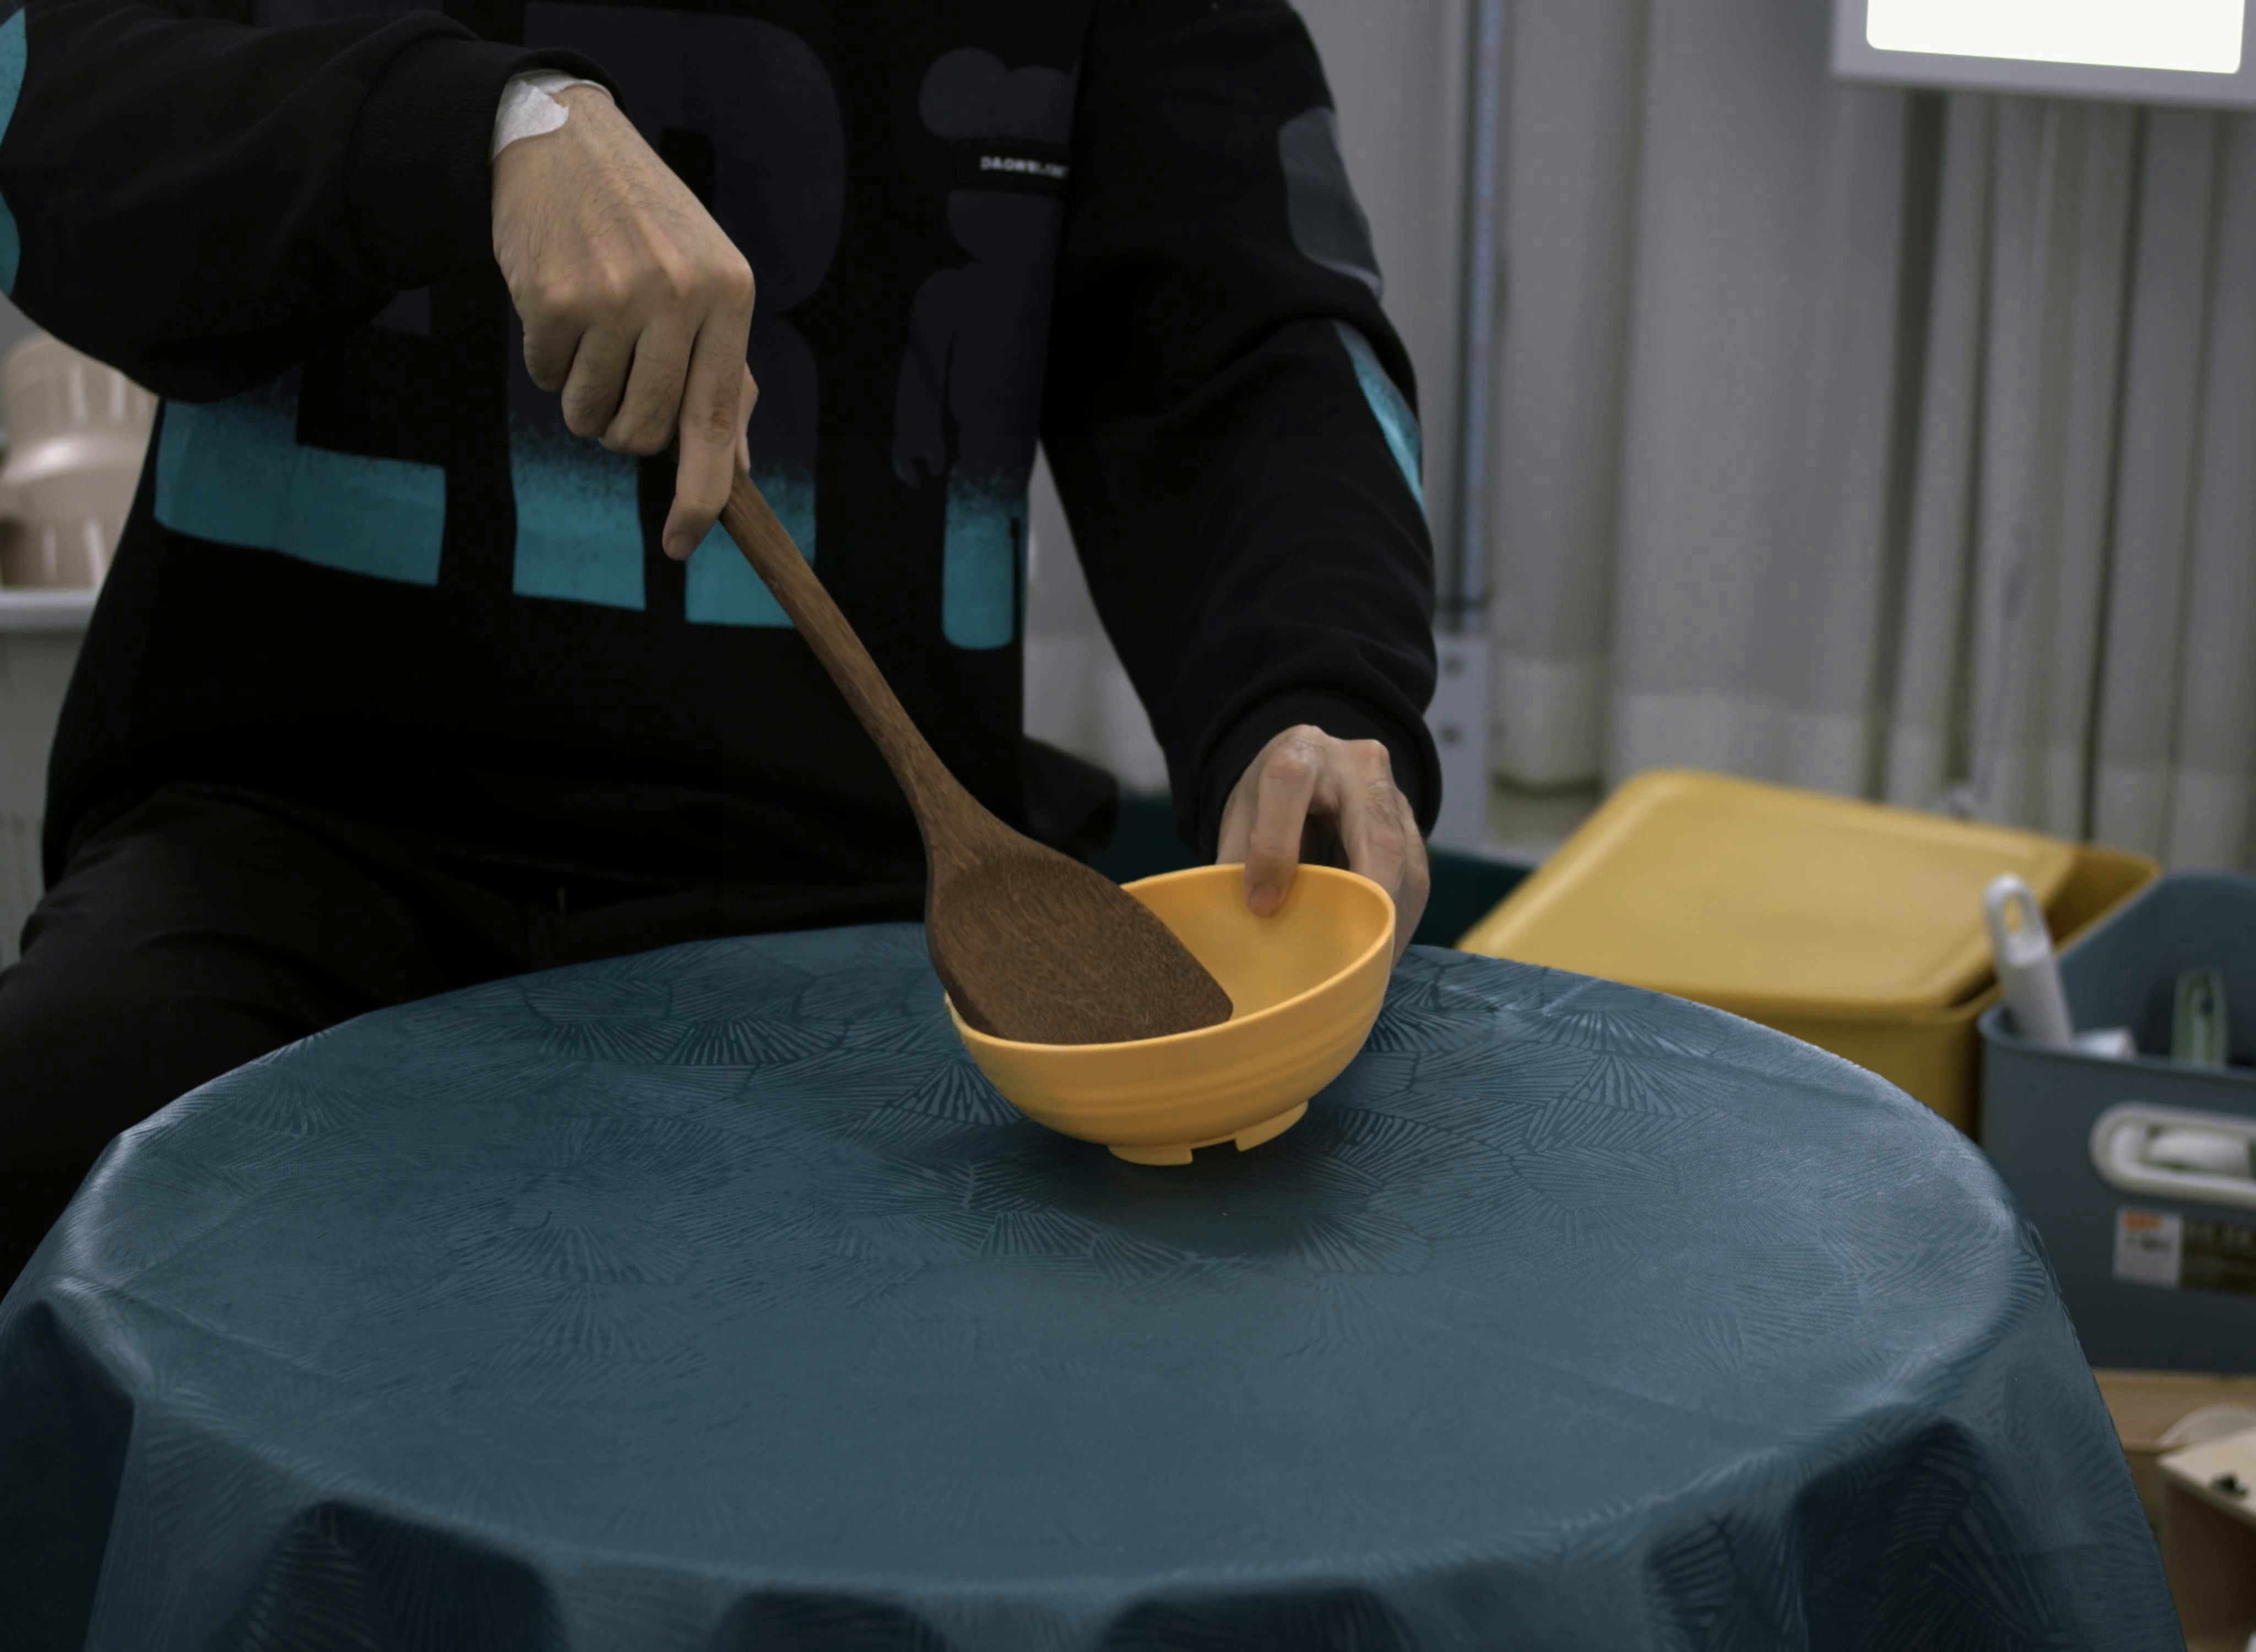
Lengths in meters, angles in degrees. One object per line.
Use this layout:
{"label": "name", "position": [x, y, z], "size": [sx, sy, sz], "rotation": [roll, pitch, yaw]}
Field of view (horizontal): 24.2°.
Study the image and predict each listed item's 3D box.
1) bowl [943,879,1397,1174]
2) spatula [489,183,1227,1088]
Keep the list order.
{"label": "bowl", "position": [0.018, 0.069, 1.656], "size": [0.145, 0.060, 0.144], "rotation": [-10, 18, 4]}
{"label": "spatula", "position": [-0.100, -0.067, 1.695], "size": [0.096, 0.016, 0.383], "rotation": [-18, 66, -45]}
